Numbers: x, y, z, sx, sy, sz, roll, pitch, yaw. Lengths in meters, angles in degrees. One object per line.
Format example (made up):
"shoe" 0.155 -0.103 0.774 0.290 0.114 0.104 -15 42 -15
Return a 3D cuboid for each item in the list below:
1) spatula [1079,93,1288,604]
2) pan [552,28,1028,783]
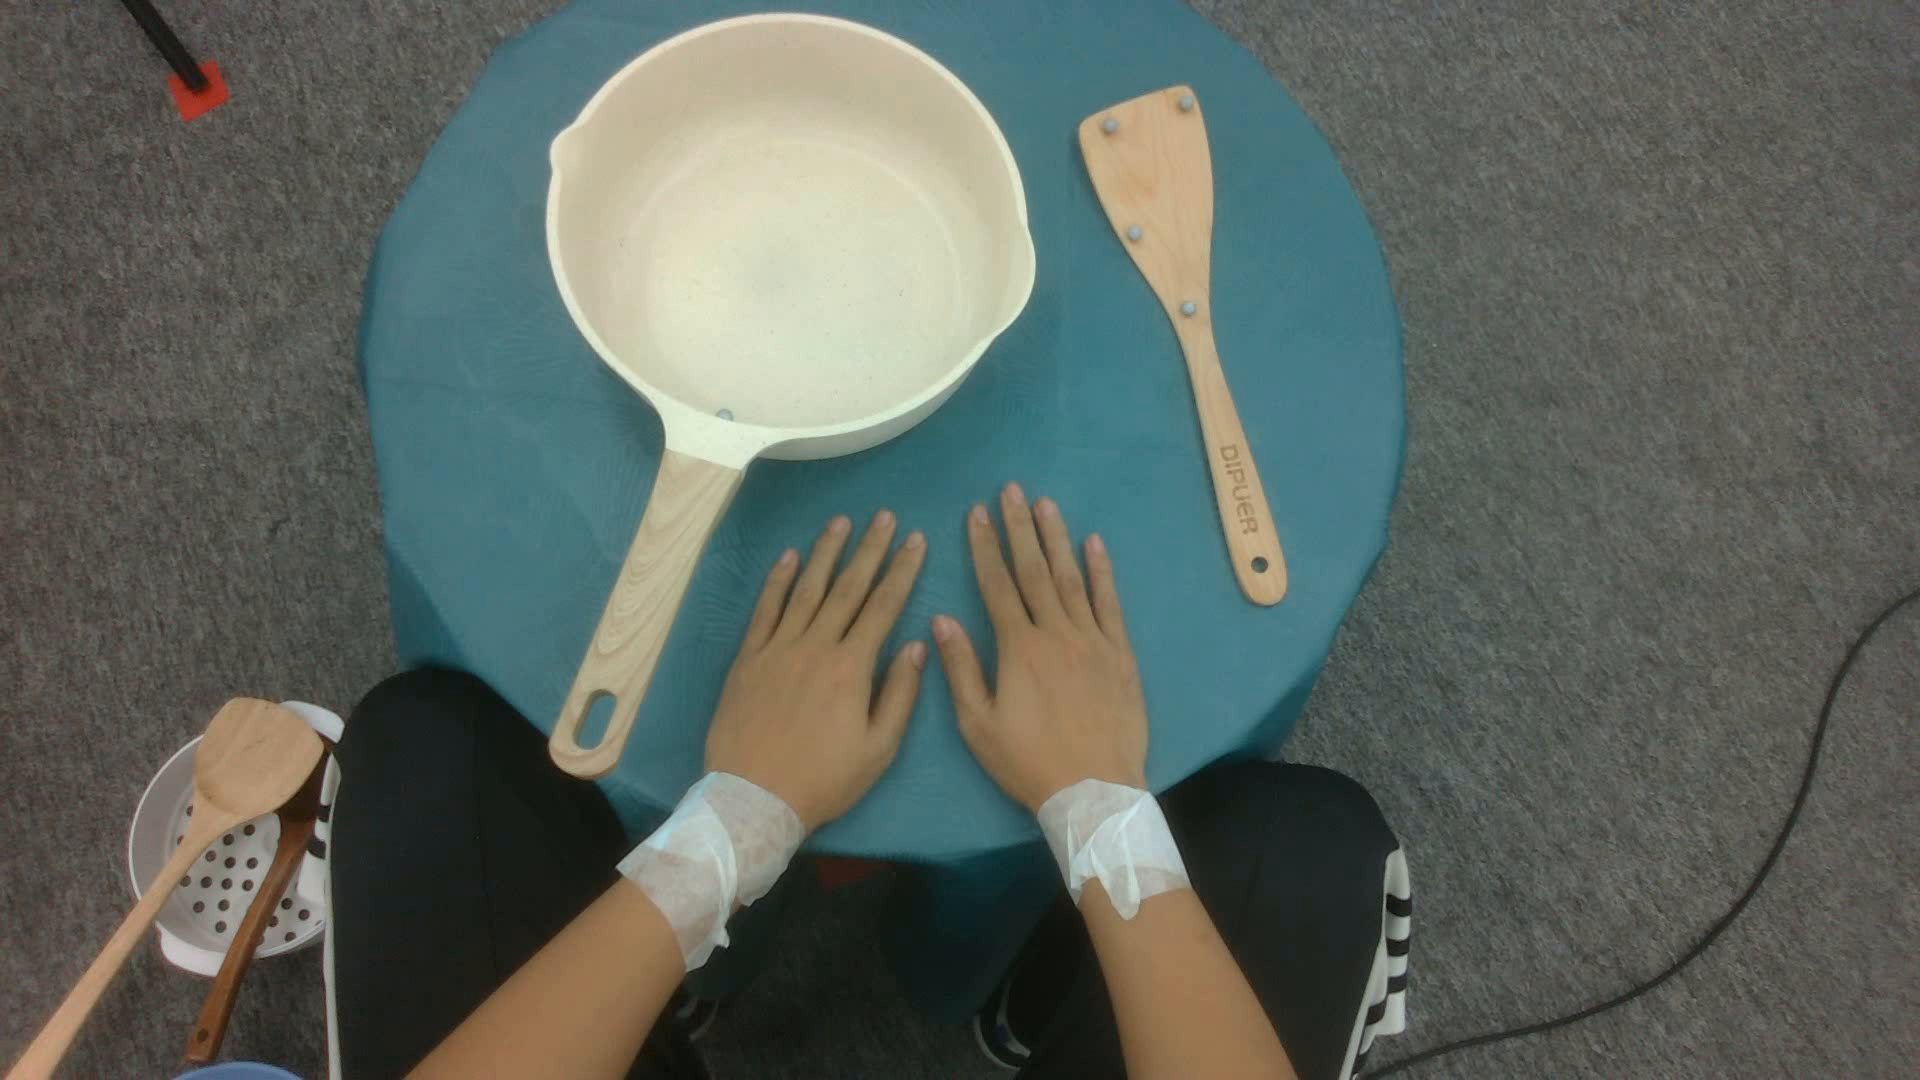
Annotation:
"spatula" 0.142 -0.119 0.823 0.080 0.016 0.328 -10 74 -7
"pan" -0.118 -0.076 0.745 0.263 0.101 0.436 16 72 -1
